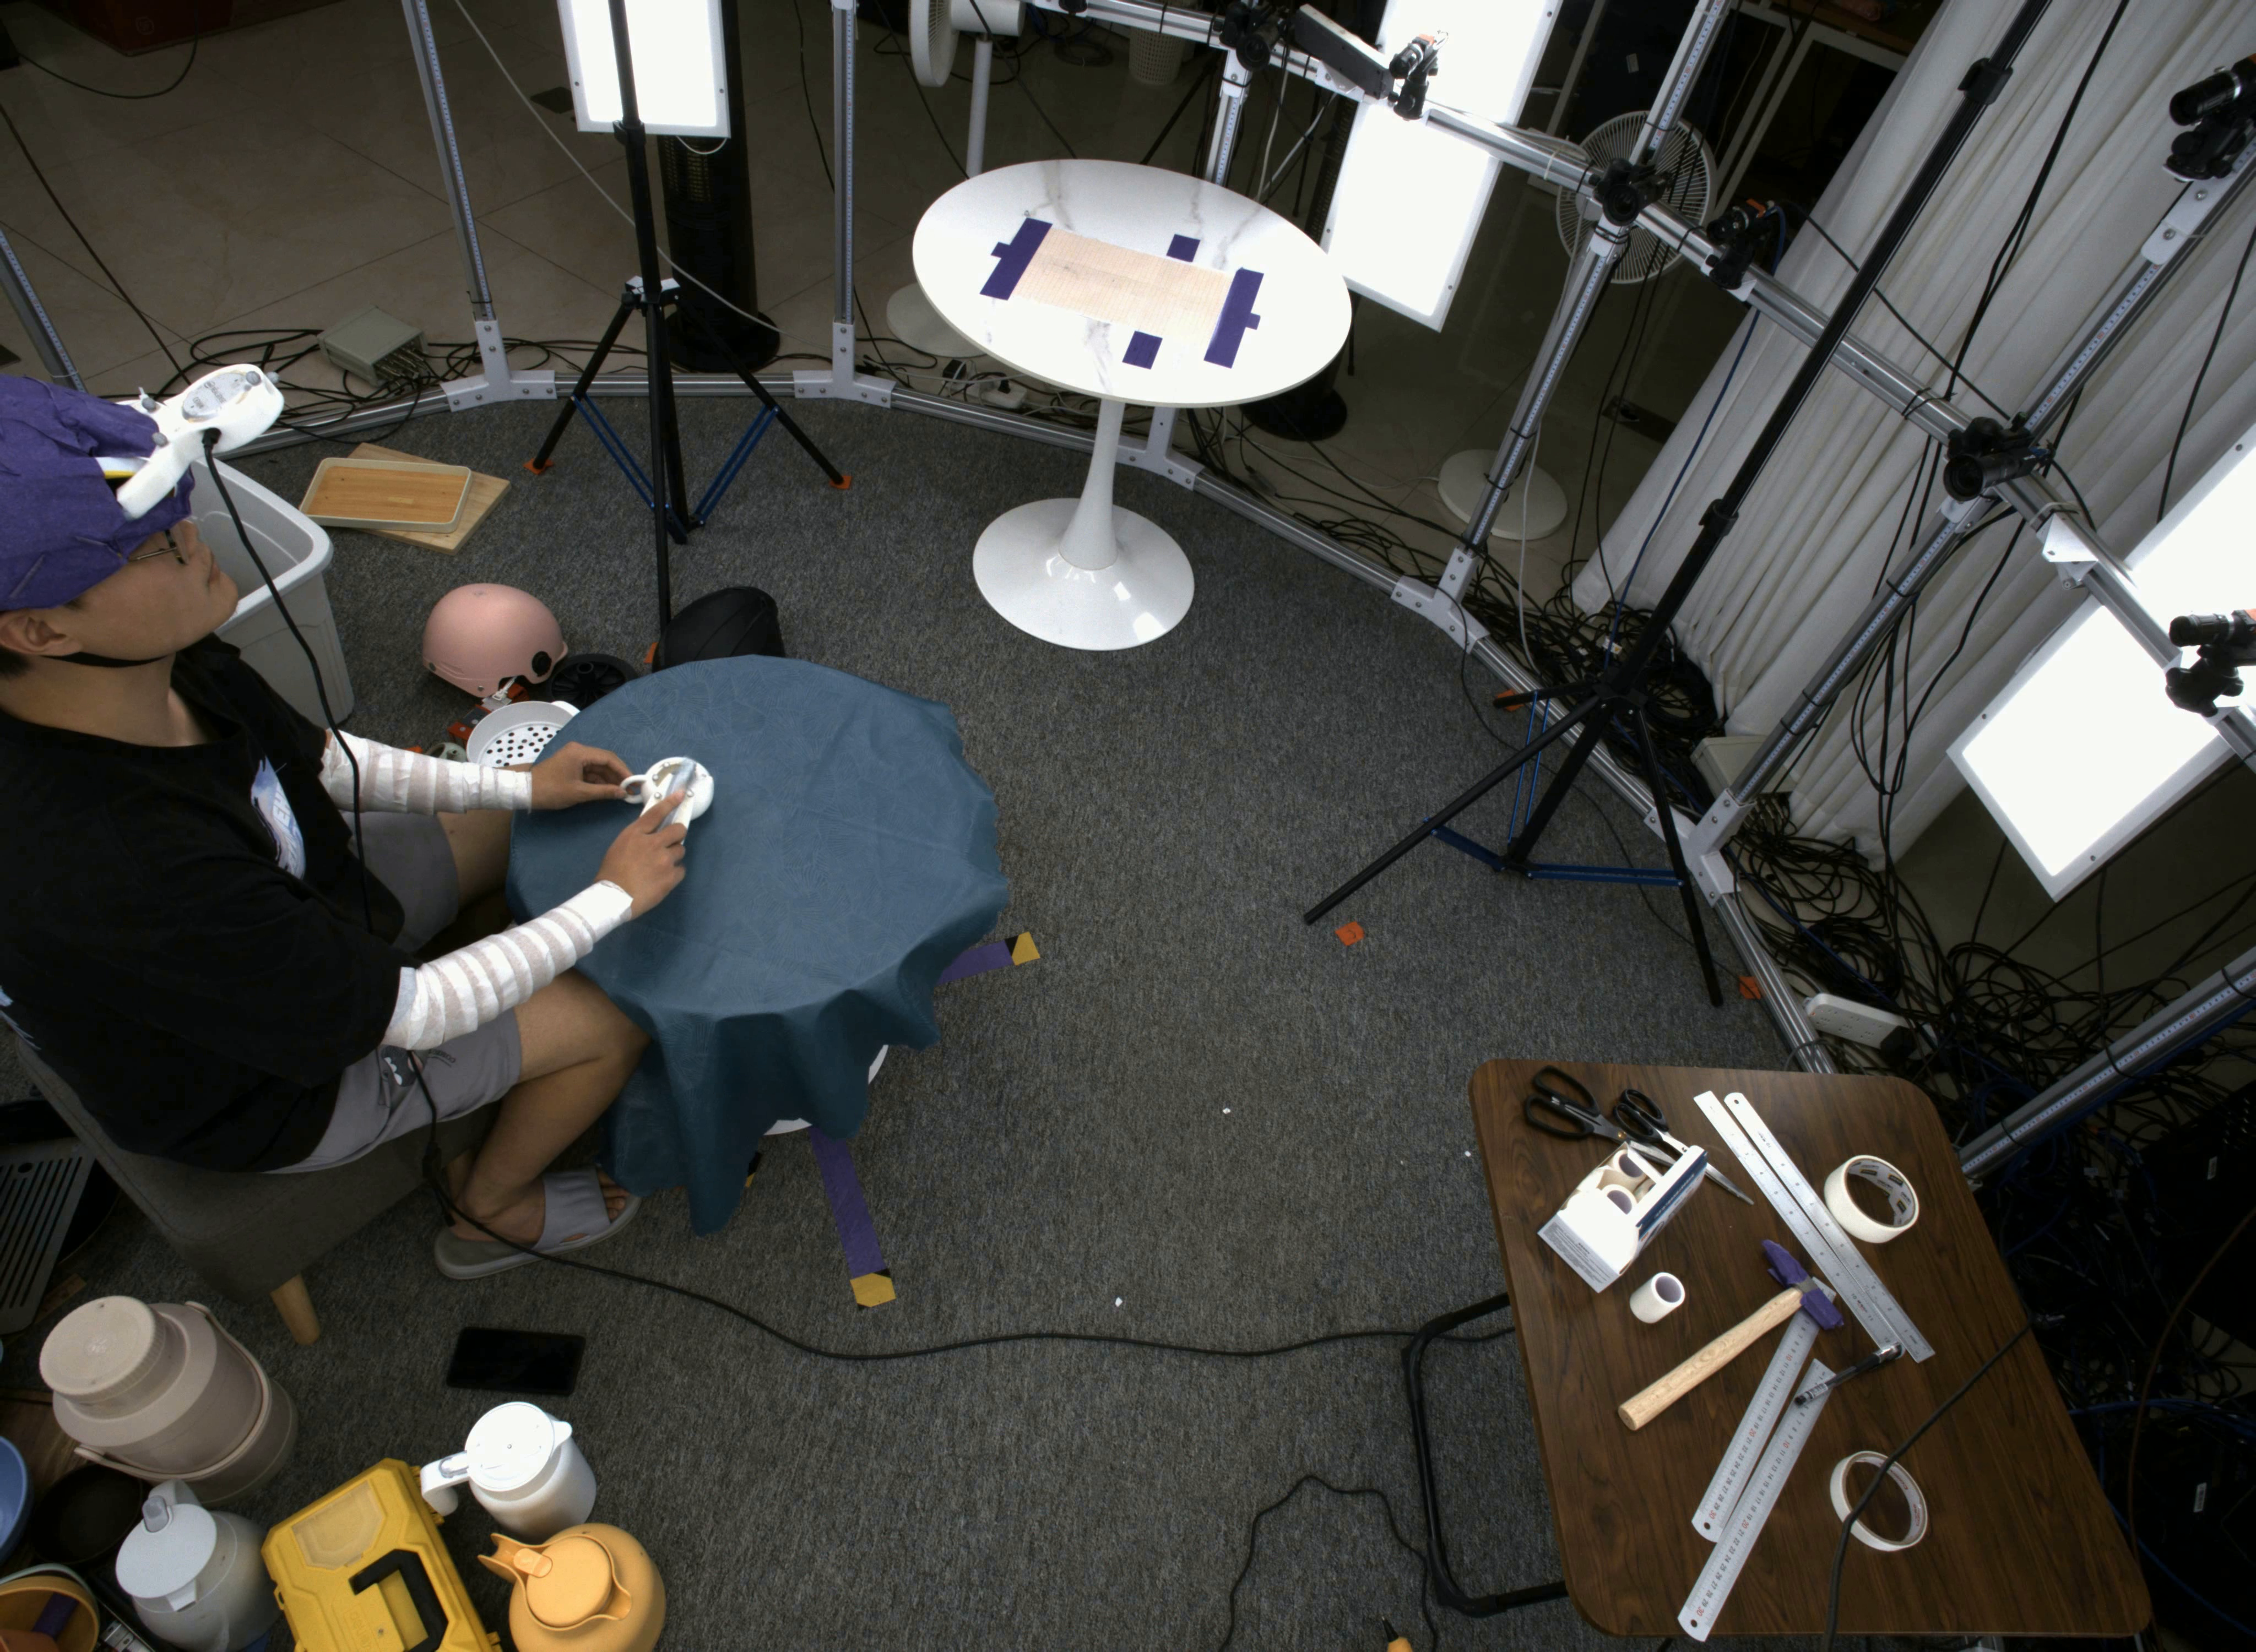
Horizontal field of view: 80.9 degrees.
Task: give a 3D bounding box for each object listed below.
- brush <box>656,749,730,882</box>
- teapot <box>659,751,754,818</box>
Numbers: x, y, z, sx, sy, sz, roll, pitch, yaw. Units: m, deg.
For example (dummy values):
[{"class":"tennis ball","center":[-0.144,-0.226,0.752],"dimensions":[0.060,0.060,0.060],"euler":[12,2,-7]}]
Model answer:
[{"class":"brush","center":[-0.536,-0.023,1.617],"dimensions":[0.062,0.093,0.175],"euler":[23,75,-19]},{"class":"teapot","center":[-0.558,-0.056,1.708],"dimensions":[0.127,0.058,0.092],"euler":[-1,58,-12]}]
